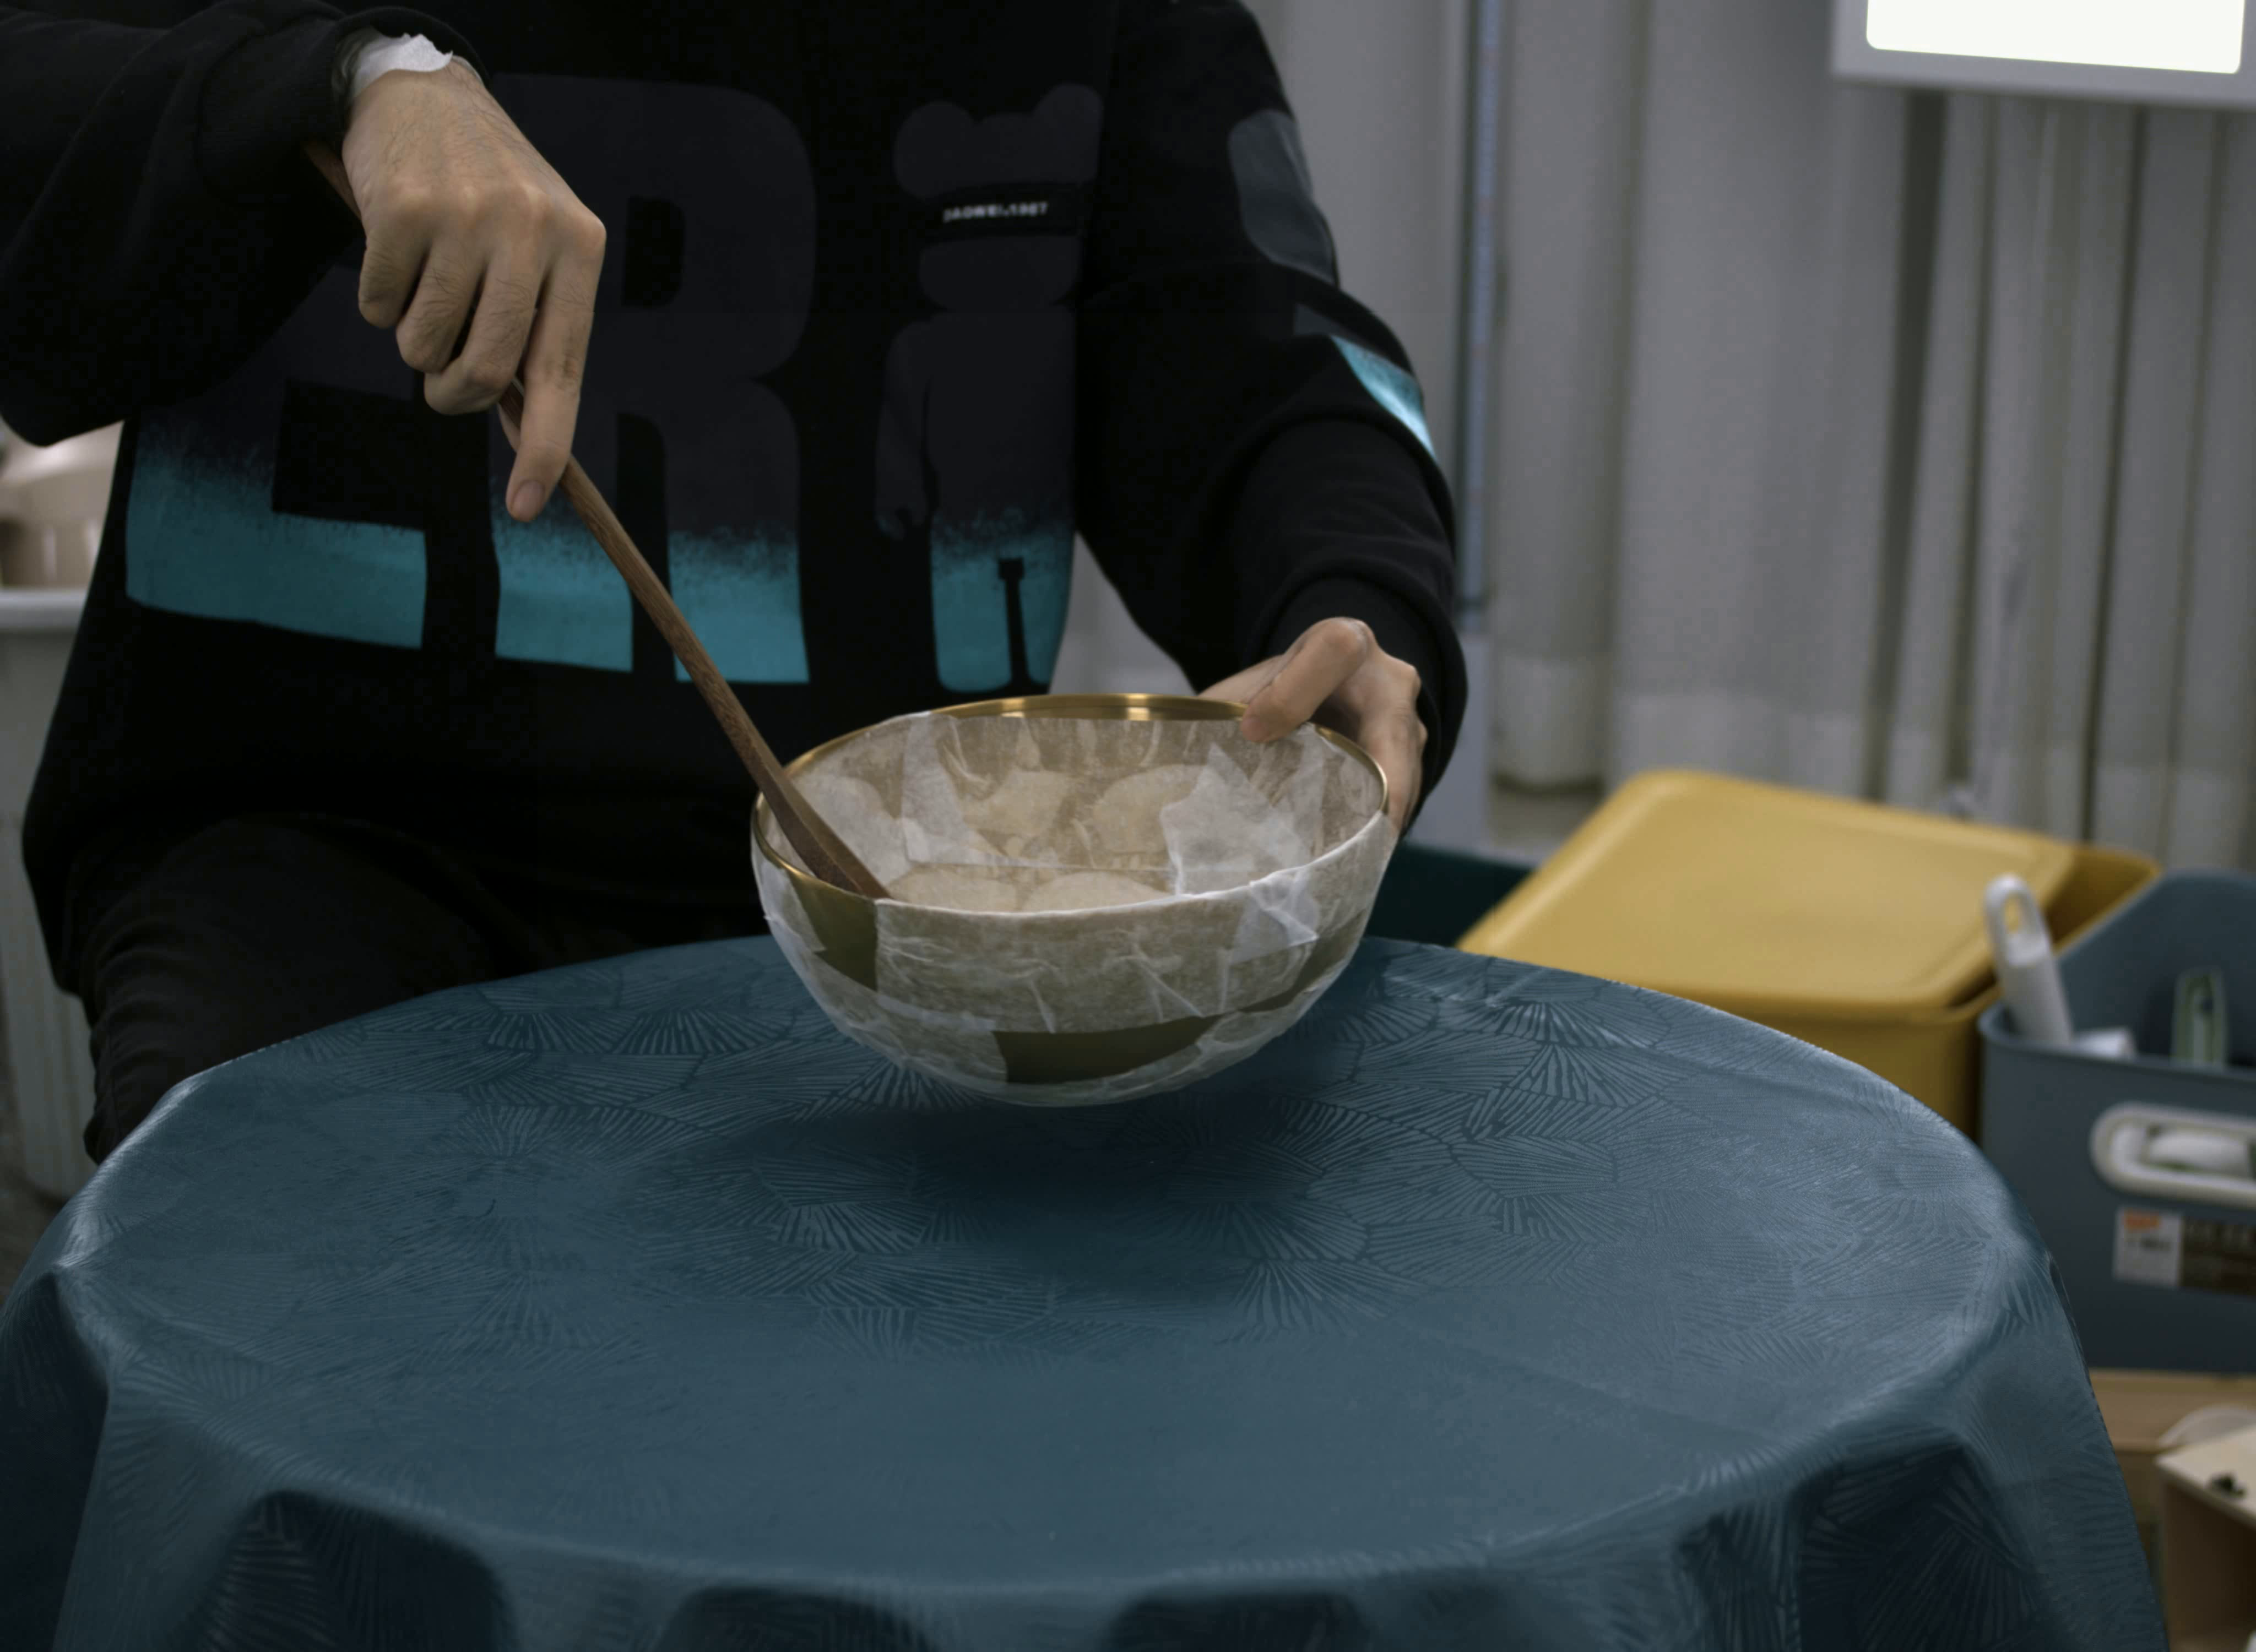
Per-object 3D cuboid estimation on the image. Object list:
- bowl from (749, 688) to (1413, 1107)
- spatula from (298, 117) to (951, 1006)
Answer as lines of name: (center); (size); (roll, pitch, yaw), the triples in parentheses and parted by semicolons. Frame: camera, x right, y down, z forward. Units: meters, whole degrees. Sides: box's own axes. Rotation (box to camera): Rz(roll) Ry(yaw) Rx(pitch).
bowl: (-0.012, 0.031, 1.655); (0.214, 0.095, 0.213); (-4, 20, 2)
spatula: (-0.155, -0.083, 1.657); (0.016, 0.383, 0.097); (-37, -16, 2)
